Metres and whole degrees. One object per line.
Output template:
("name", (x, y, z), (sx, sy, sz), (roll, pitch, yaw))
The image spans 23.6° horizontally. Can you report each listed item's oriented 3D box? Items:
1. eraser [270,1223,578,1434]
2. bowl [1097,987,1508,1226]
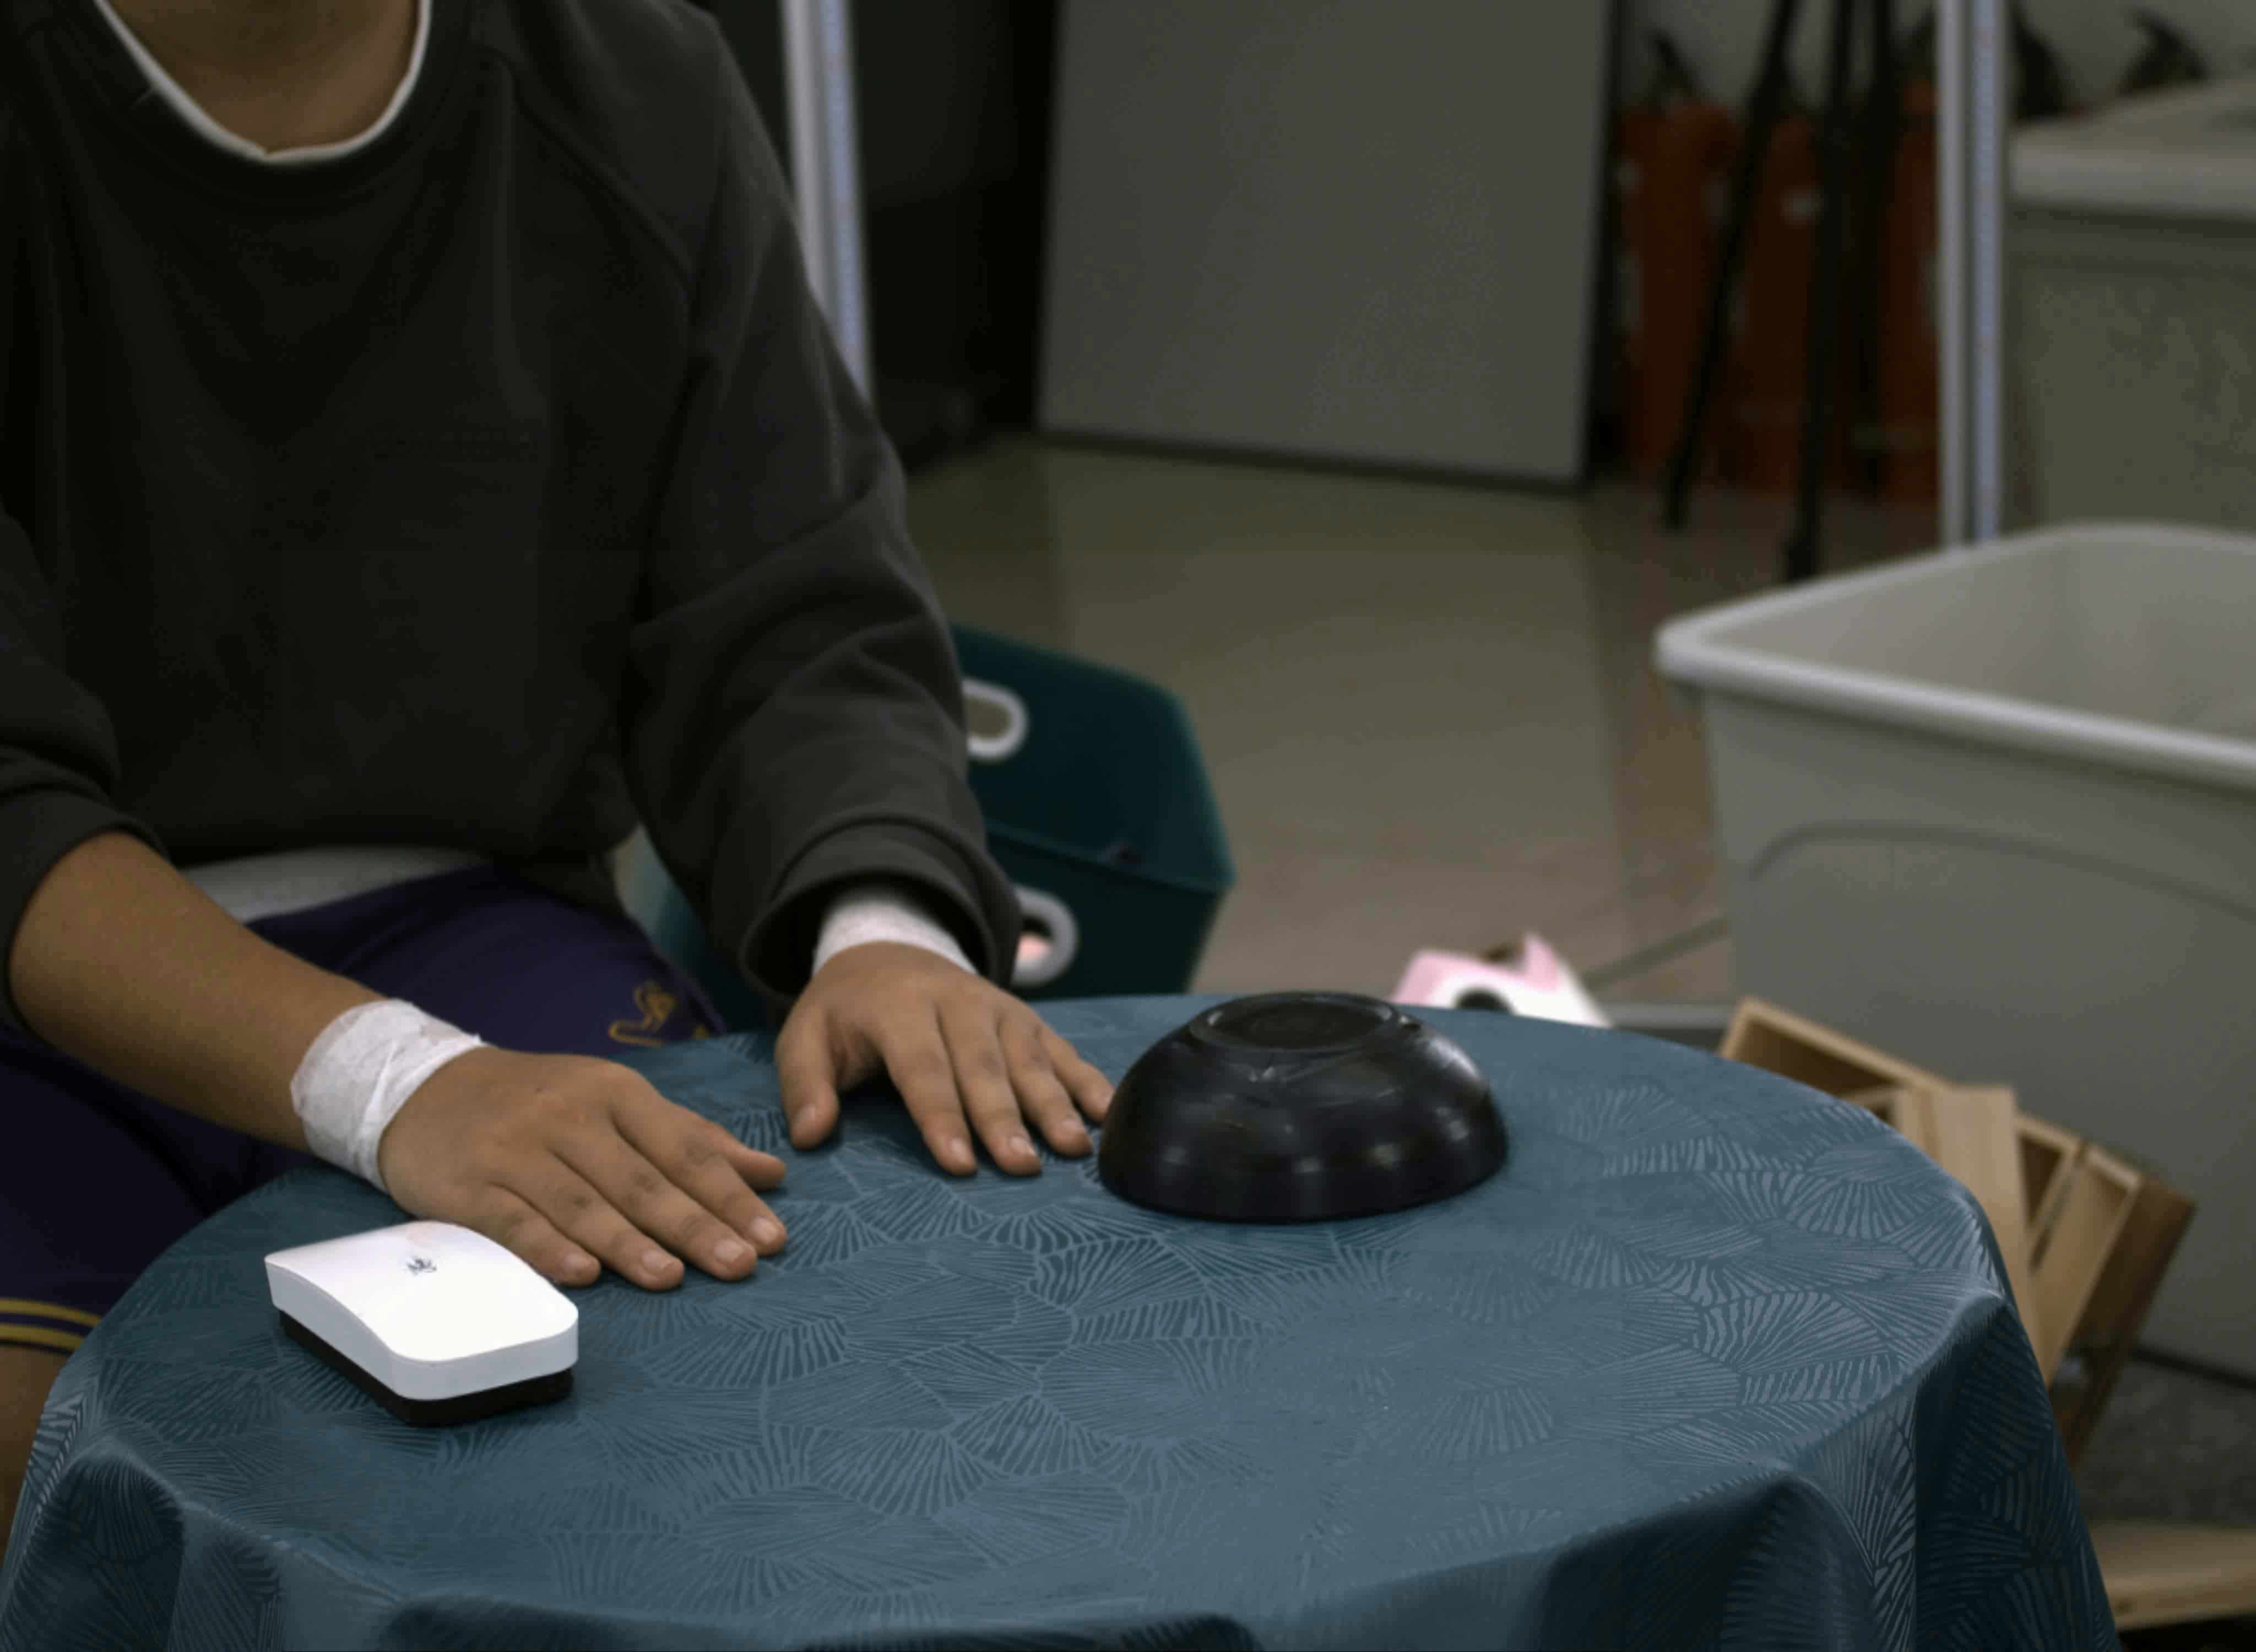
("eraser", (-0.214, 0.149, 1.651), (0.062, 0.035, 0.132), (-9, 16, -25))
("bowl", (0.056, 0.087, 1.783), (0.138, 0.050, 0.140), (-4, 15, 0))
